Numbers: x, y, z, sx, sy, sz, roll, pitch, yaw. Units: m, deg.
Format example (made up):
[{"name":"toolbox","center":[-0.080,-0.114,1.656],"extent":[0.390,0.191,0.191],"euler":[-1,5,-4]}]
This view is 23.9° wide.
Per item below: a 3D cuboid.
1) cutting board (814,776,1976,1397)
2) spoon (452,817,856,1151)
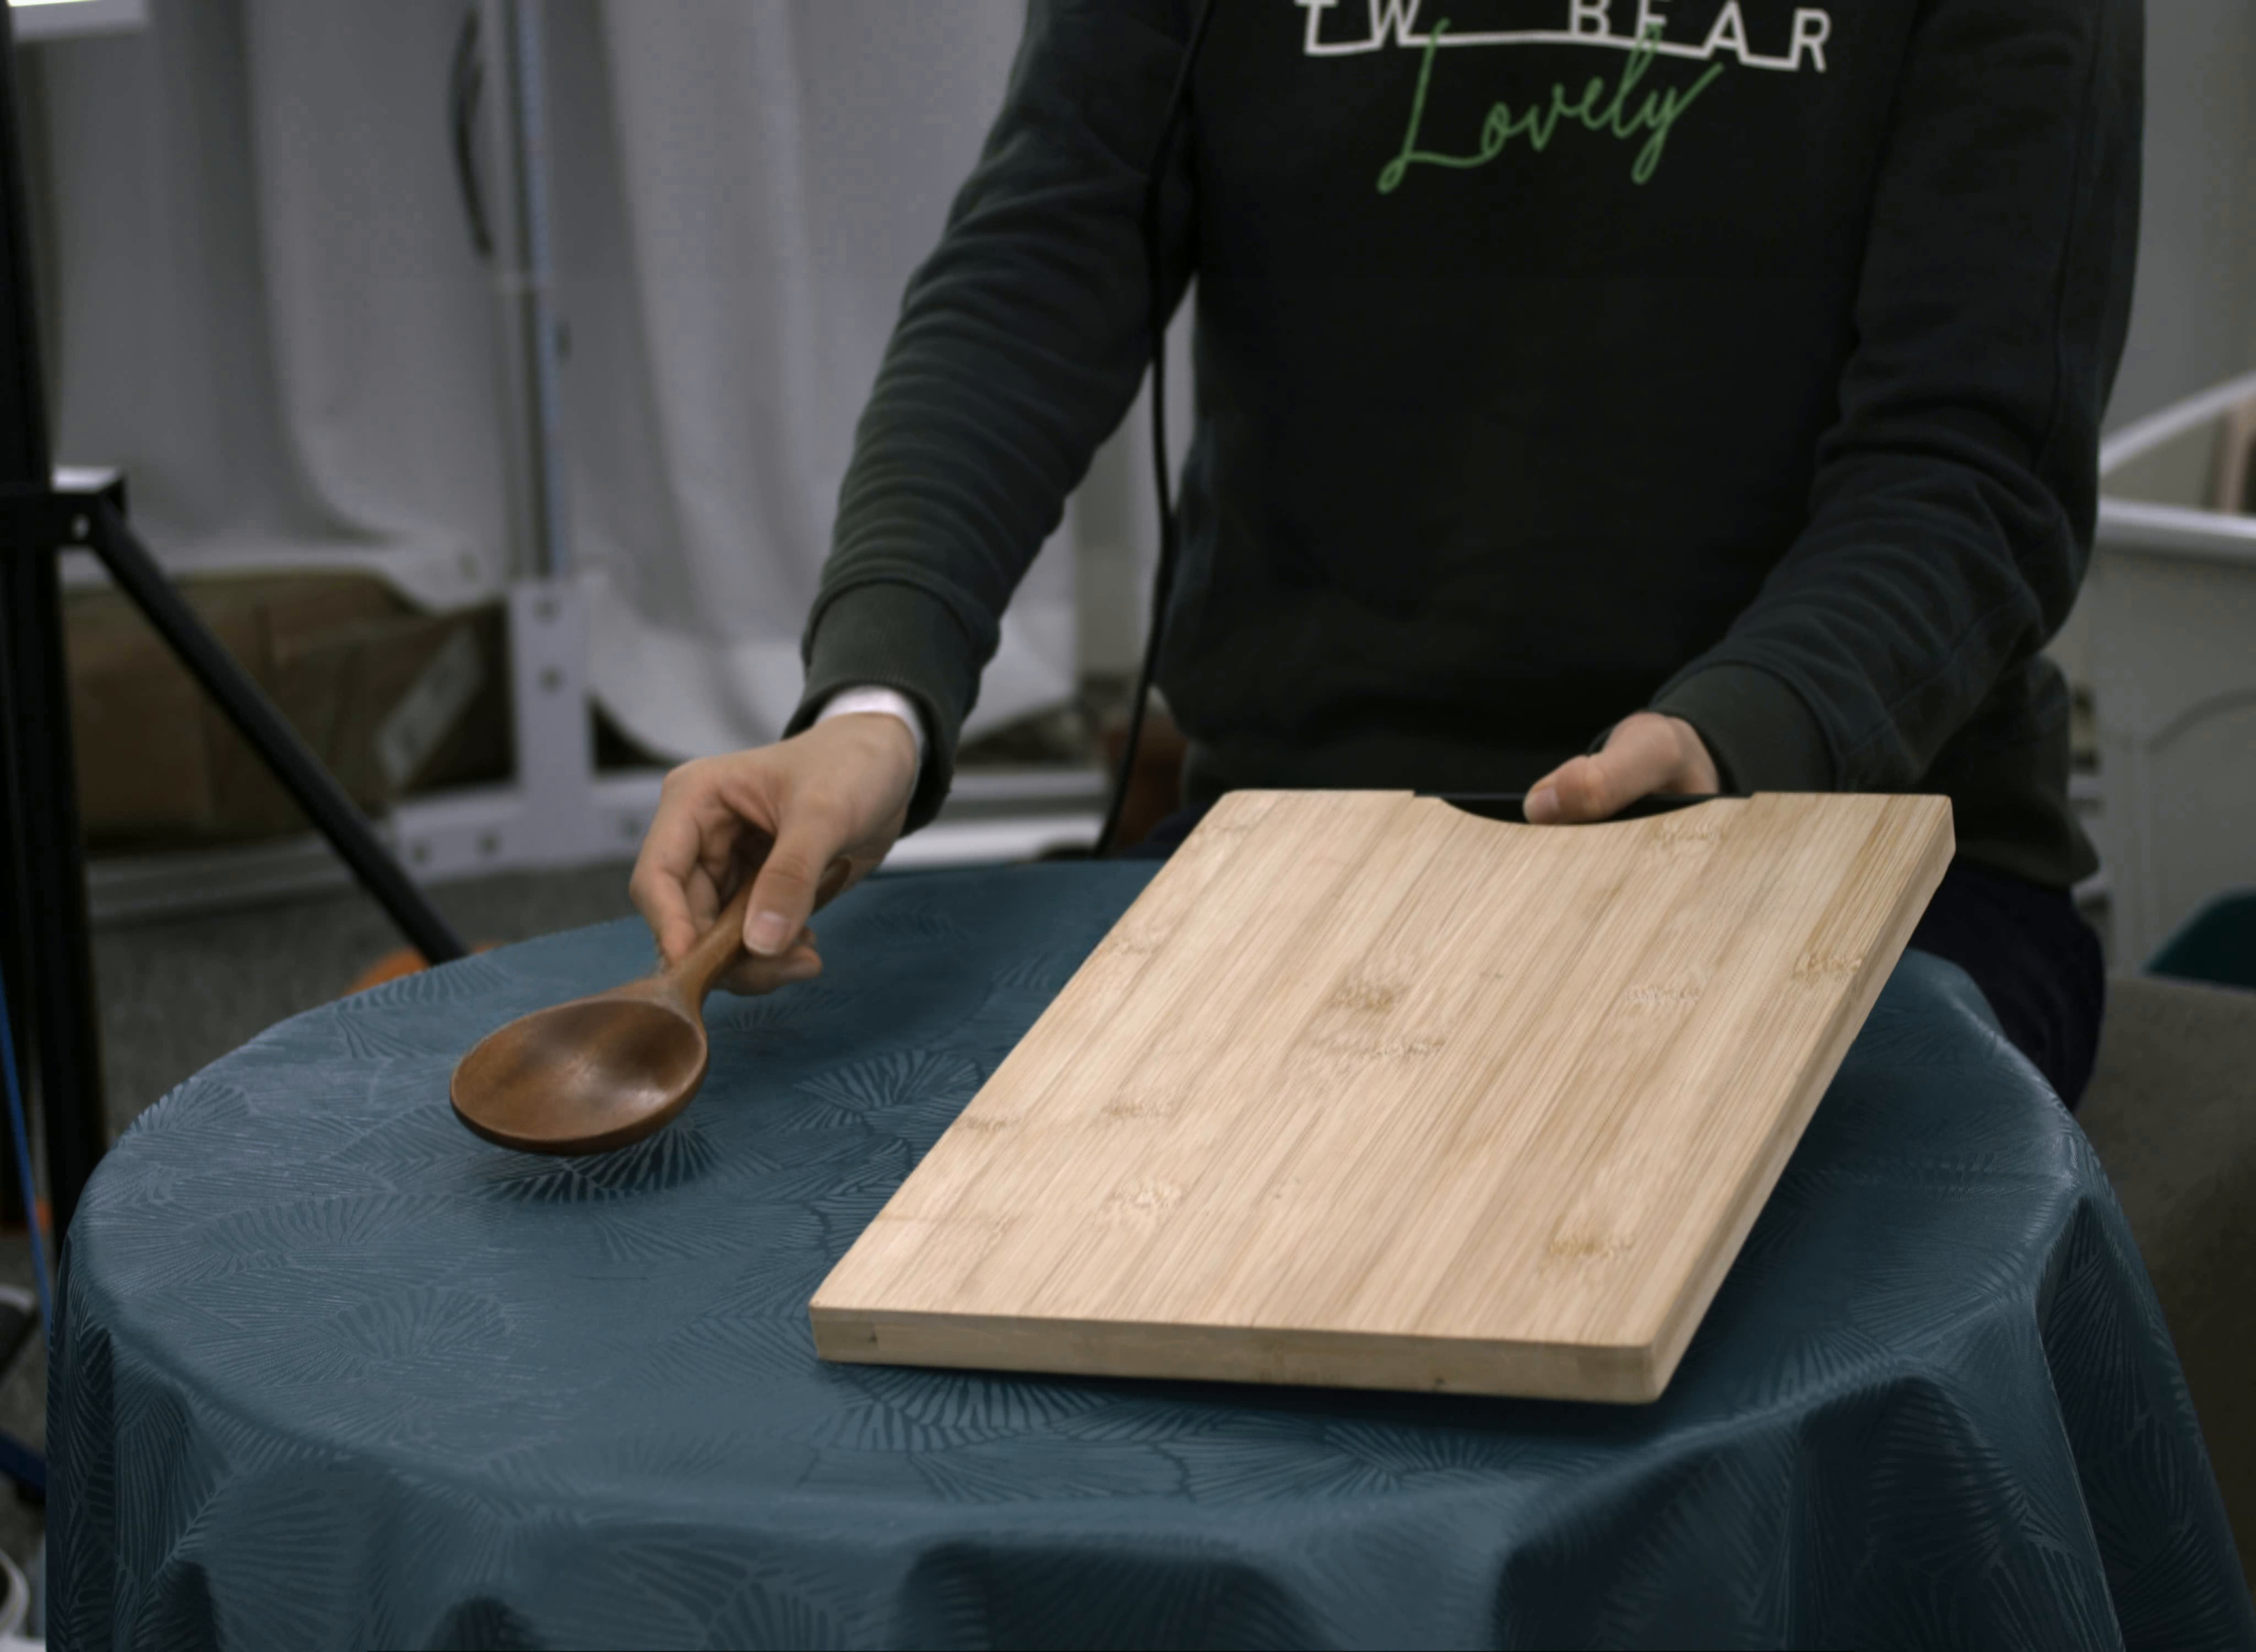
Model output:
[{"name":"cutting board","center":[0.087,0.065,1.532],"extent":[0.254,0.023,0.345],"euler":[0,25,23]},{"name":"spoon","center":[-0.138,0.050,1.662],"extent":[0.076,0.017,0.213],"euler":[8,29,23]}]
